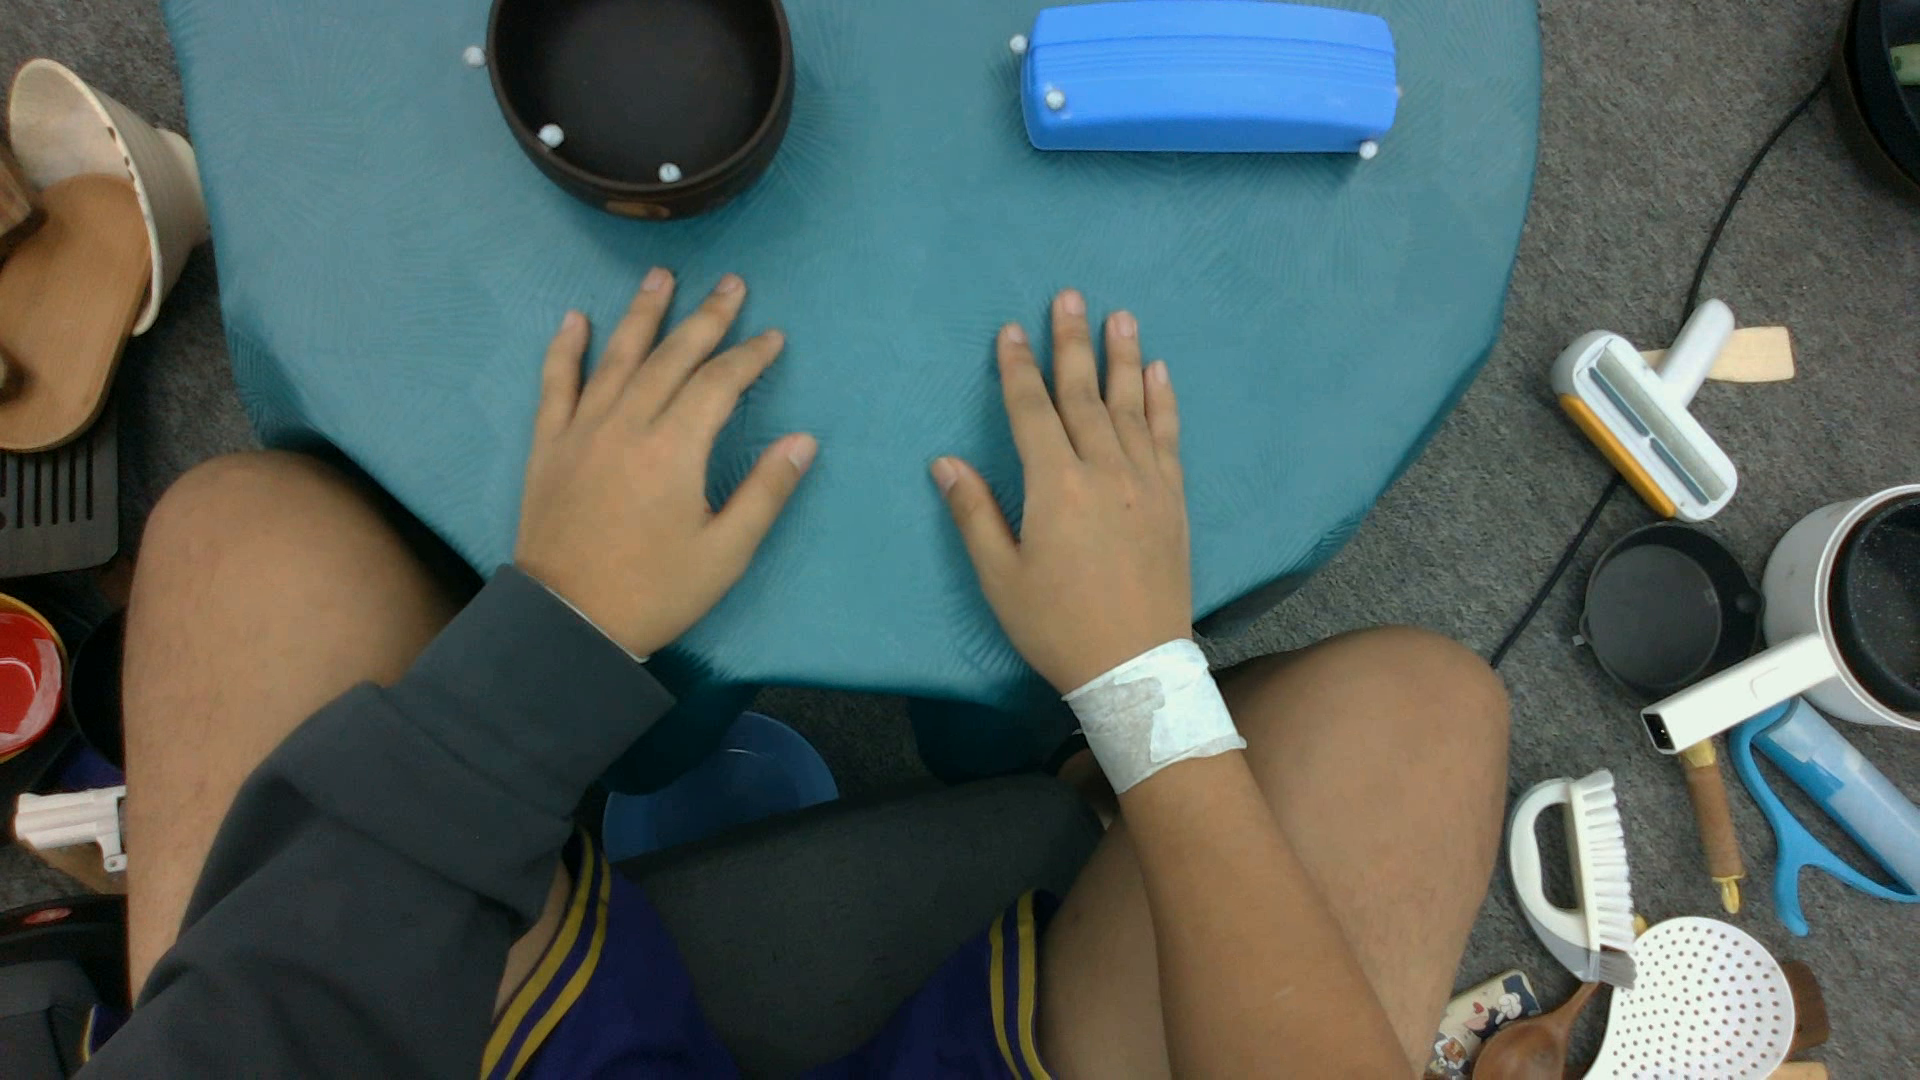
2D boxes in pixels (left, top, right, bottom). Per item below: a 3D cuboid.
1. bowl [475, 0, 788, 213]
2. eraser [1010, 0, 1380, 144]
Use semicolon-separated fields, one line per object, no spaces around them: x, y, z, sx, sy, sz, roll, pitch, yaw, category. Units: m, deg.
-0.128;-0.188;0.554;0.118;0.070;0.118;1;85;-8;bowl
0.104;-0.205;0.599;0.162;0.047;0.054;-2;83;-7;eraser
